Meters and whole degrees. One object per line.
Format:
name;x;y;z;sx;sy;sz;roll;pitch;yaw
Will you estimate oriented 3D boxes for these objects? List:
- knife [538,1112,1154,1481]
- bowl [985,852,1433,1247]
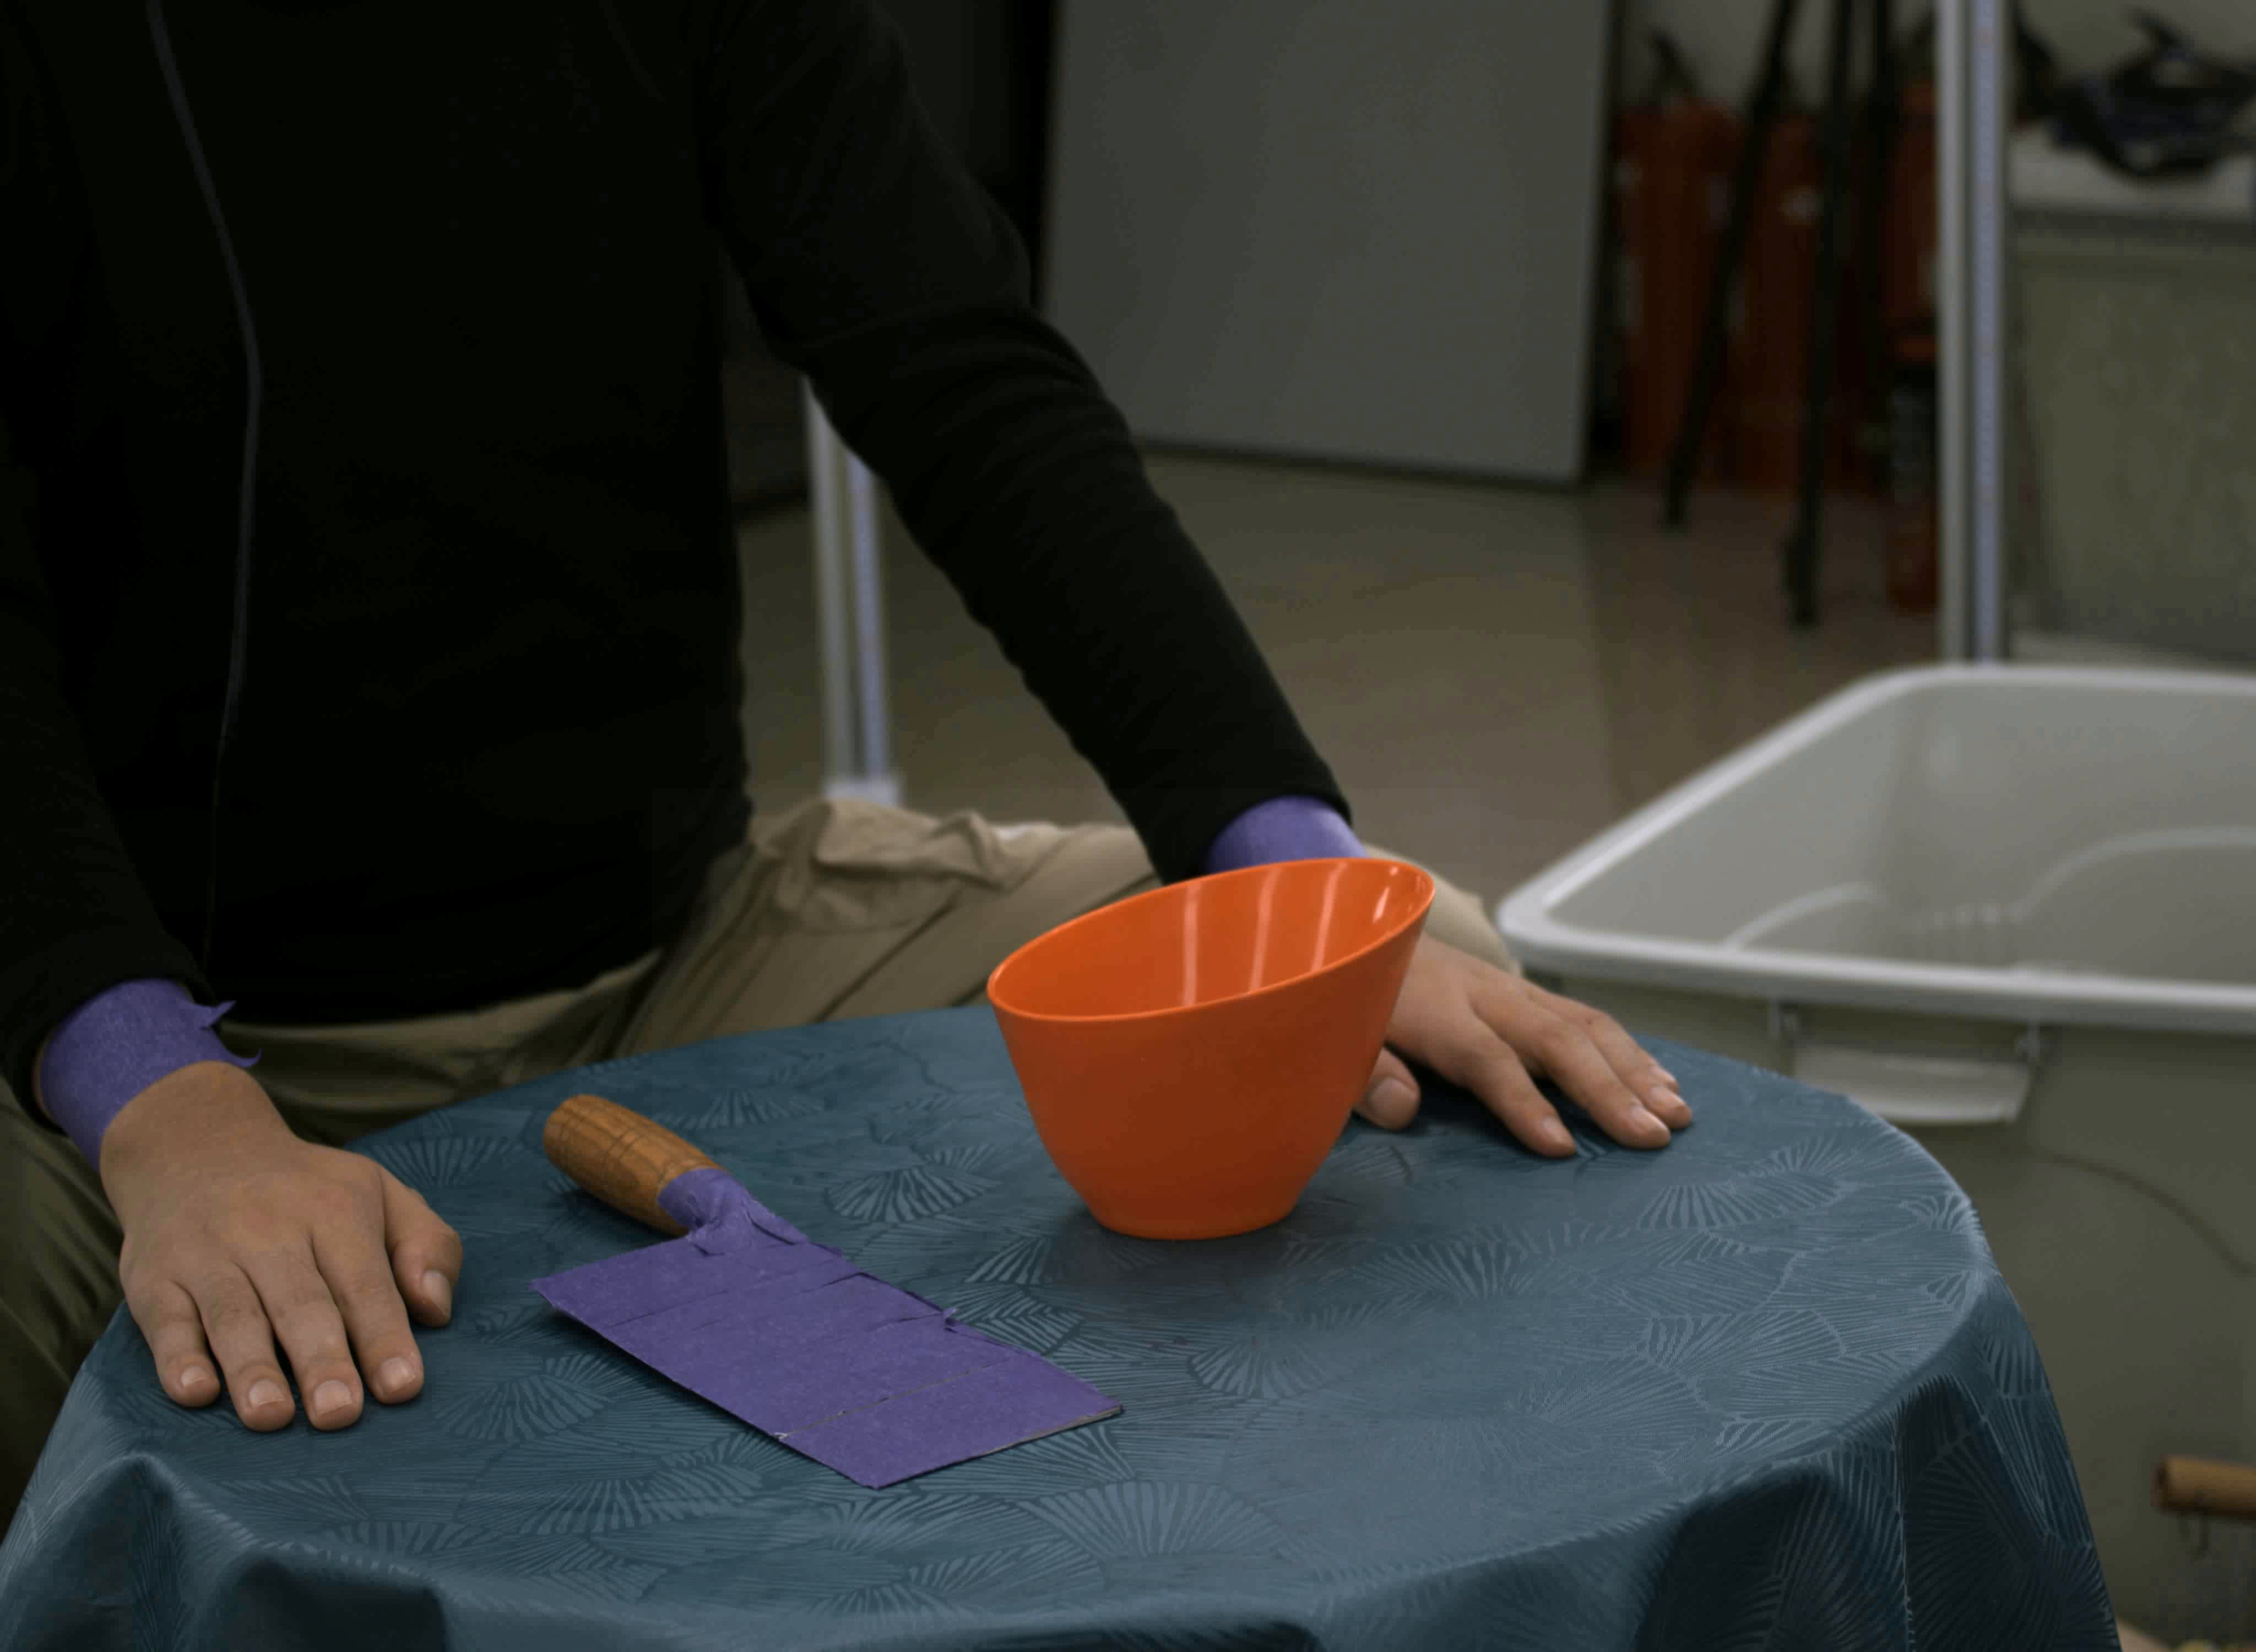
knife;-0.120;0.142;1.671;0.101;0.032;0.318;-13;17;-32
bowl;0.029;0.075;1.739;0.146;0.106;0.148;-5;16;0
